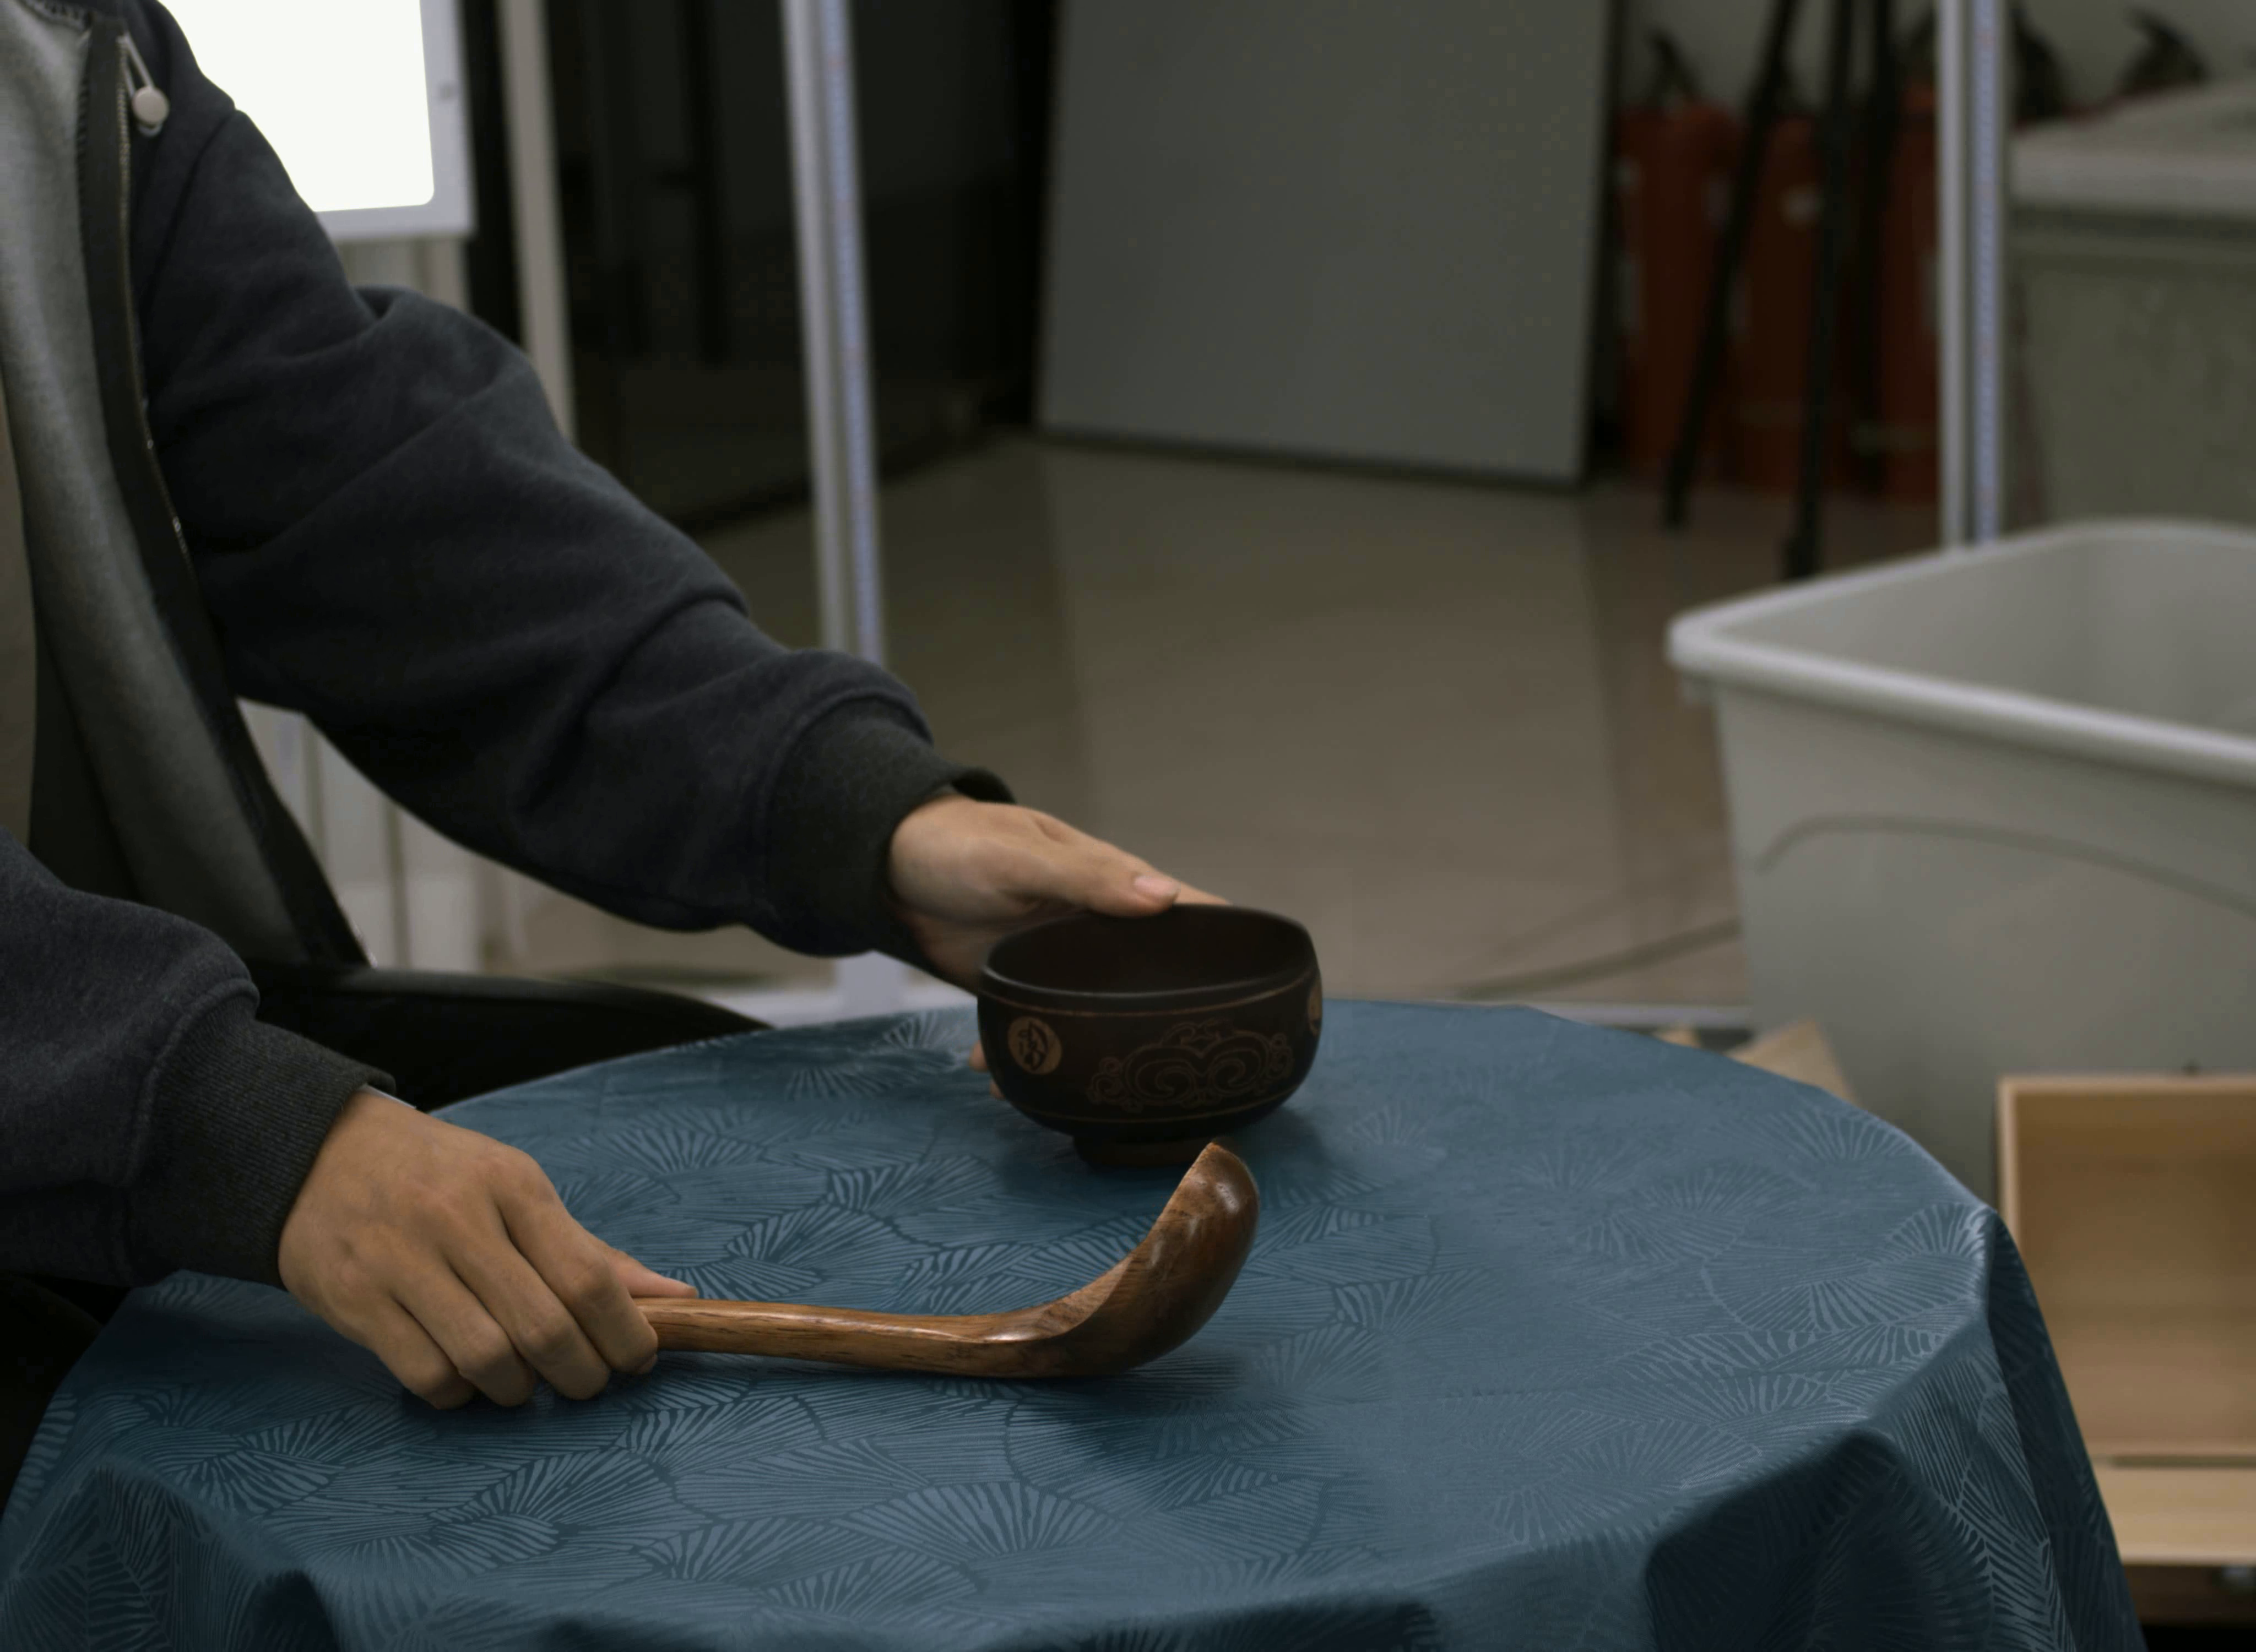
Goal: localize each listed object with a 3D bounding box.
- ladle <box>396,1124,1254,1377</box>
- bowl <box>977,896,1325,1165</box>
[{"bbox_3d":[-0.094,0.125,1.611,0.273,0.077,0.081,0,10,17],"label":"ladle"},{"bbox_3d":[0.009,0.072,1.811,0.116,0.070,0.118,-4,14,0],"label":"bowl"}]
